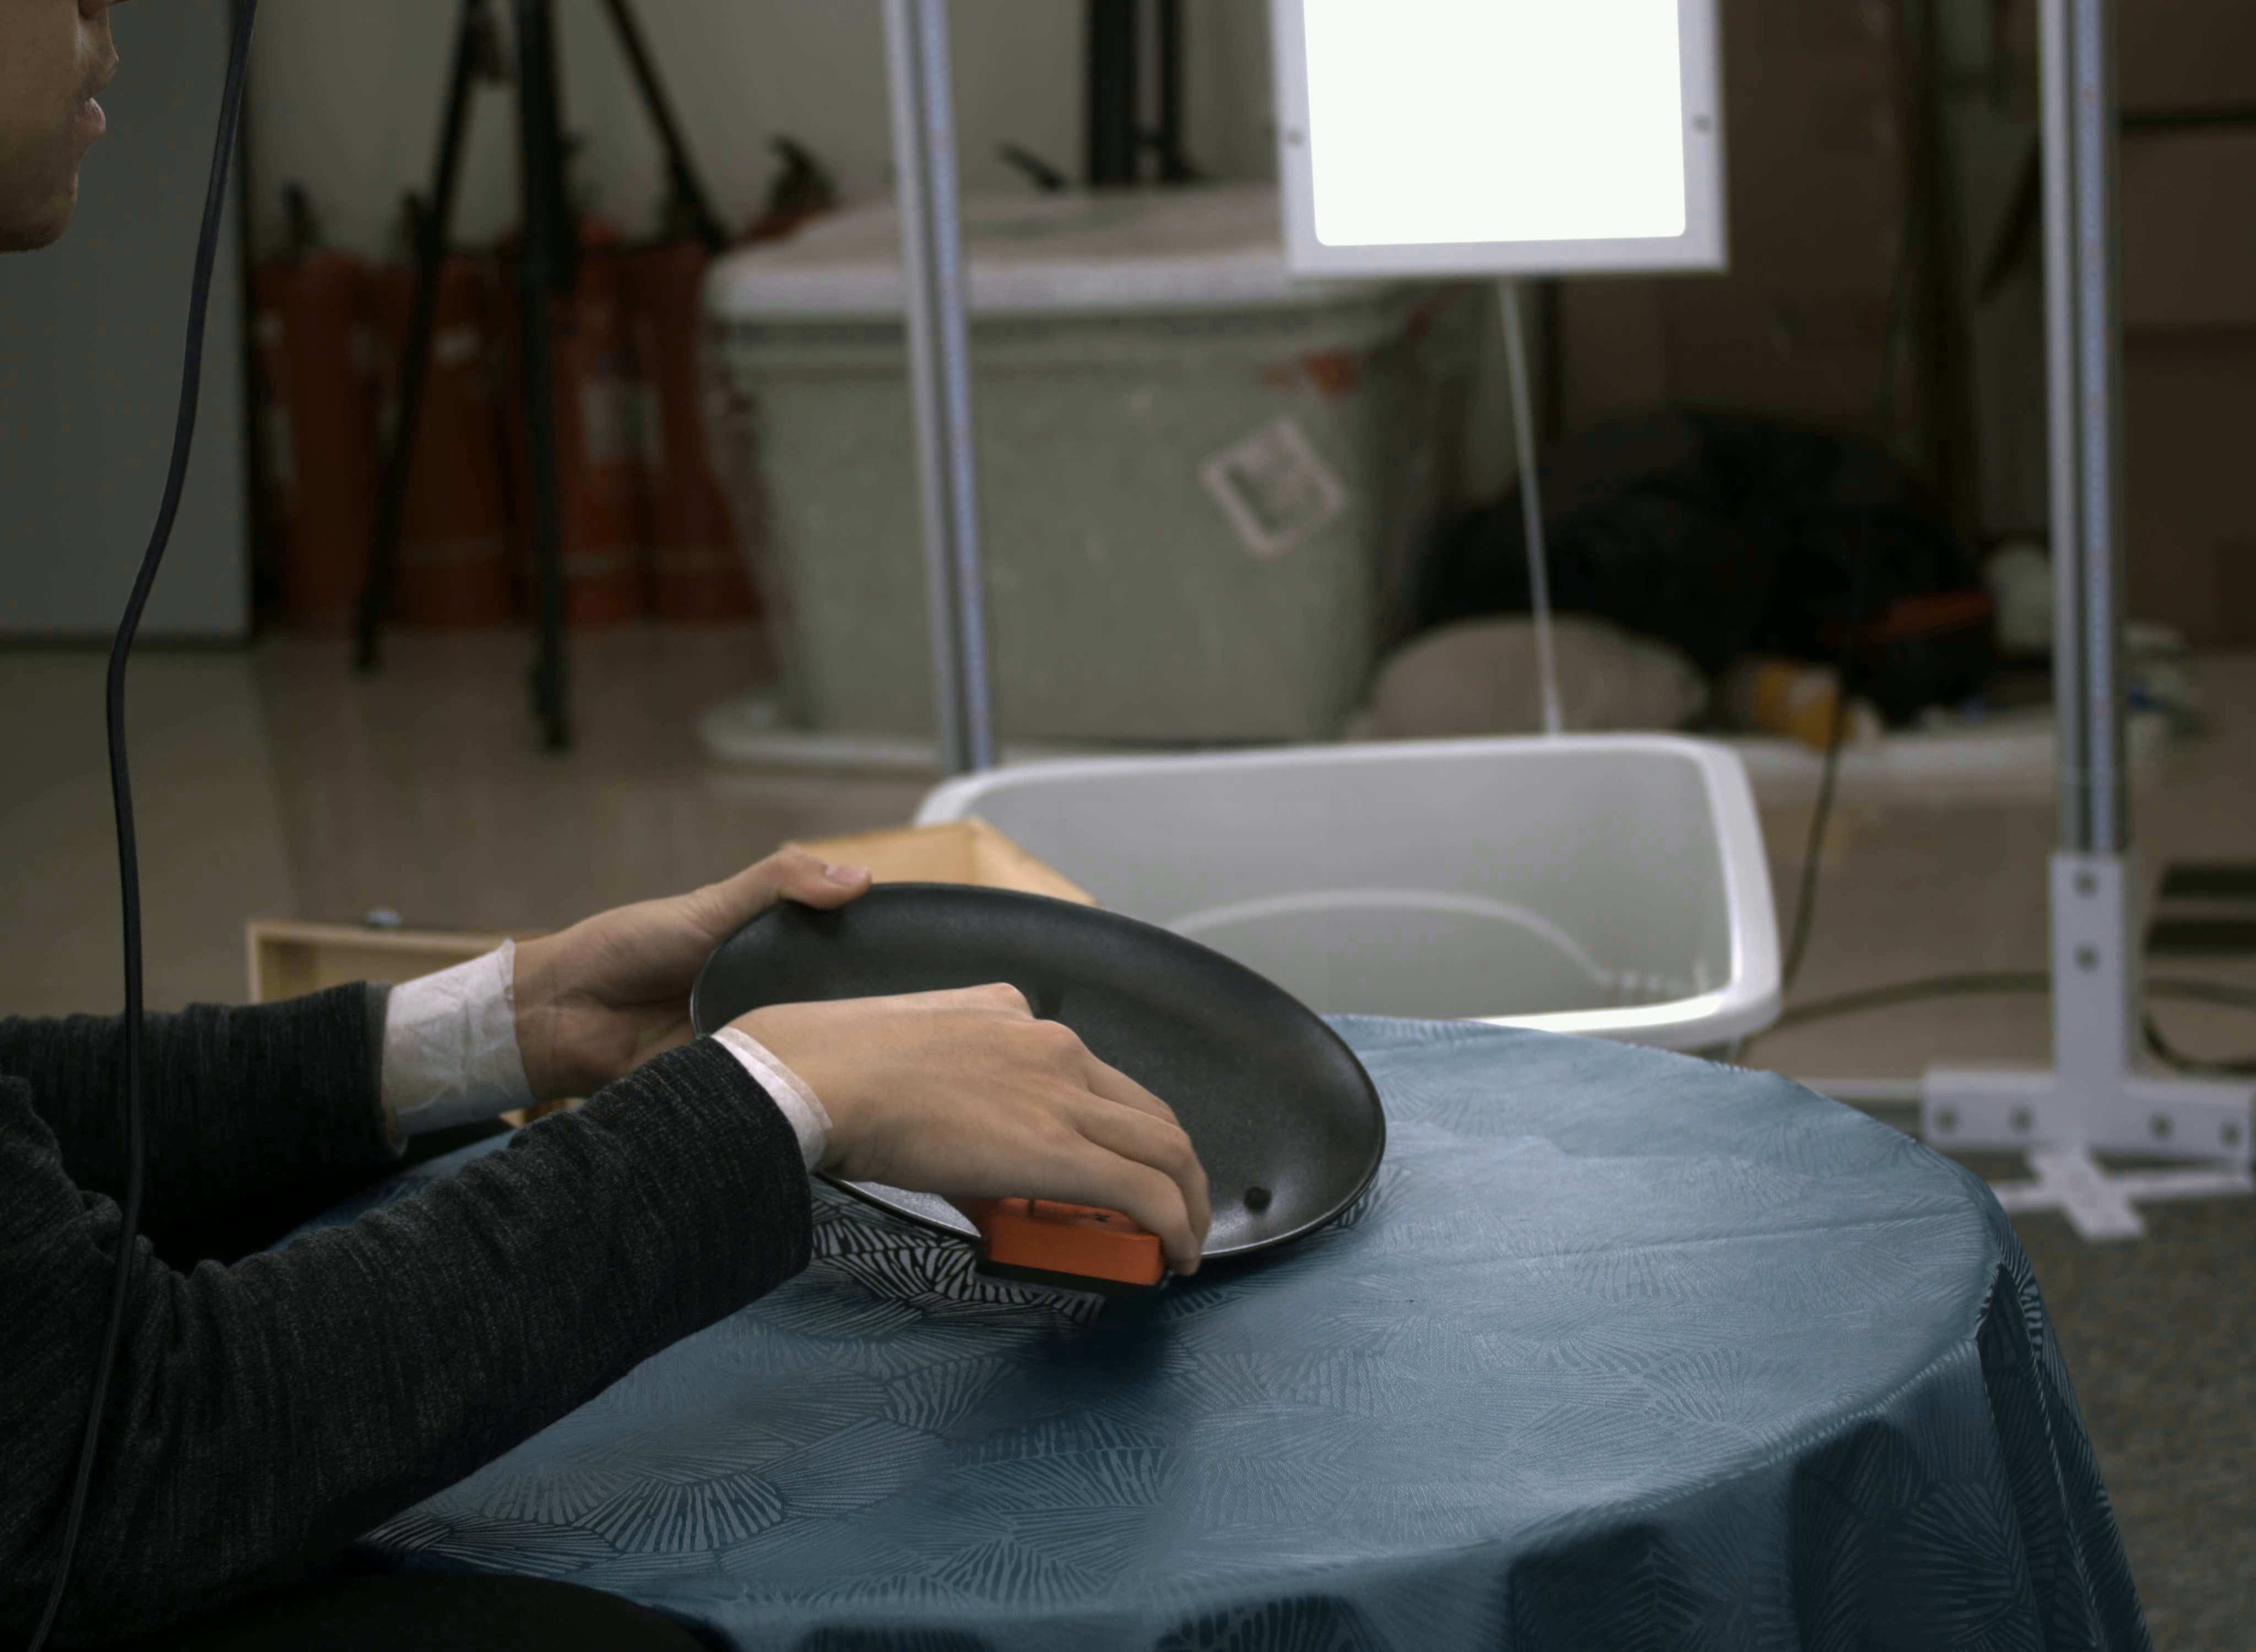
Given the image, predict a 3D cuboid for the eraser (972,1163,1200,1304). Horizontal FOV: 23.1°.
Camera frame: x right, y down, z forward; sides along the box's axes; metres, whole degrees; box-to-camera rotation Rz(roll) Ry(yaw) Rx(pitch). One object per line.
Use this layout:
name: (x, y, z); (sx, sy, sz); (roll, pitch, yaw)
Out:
eraser: (-0.012, 0.129, 1.748); (0.059, 0.023, 0.107); (7, 6, 9)

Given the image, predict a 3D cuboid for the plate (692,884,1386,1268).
plate: (-0.031, 0.089, 1.884); (0.242, 0.023, 0.244); (9, 27, -6)
